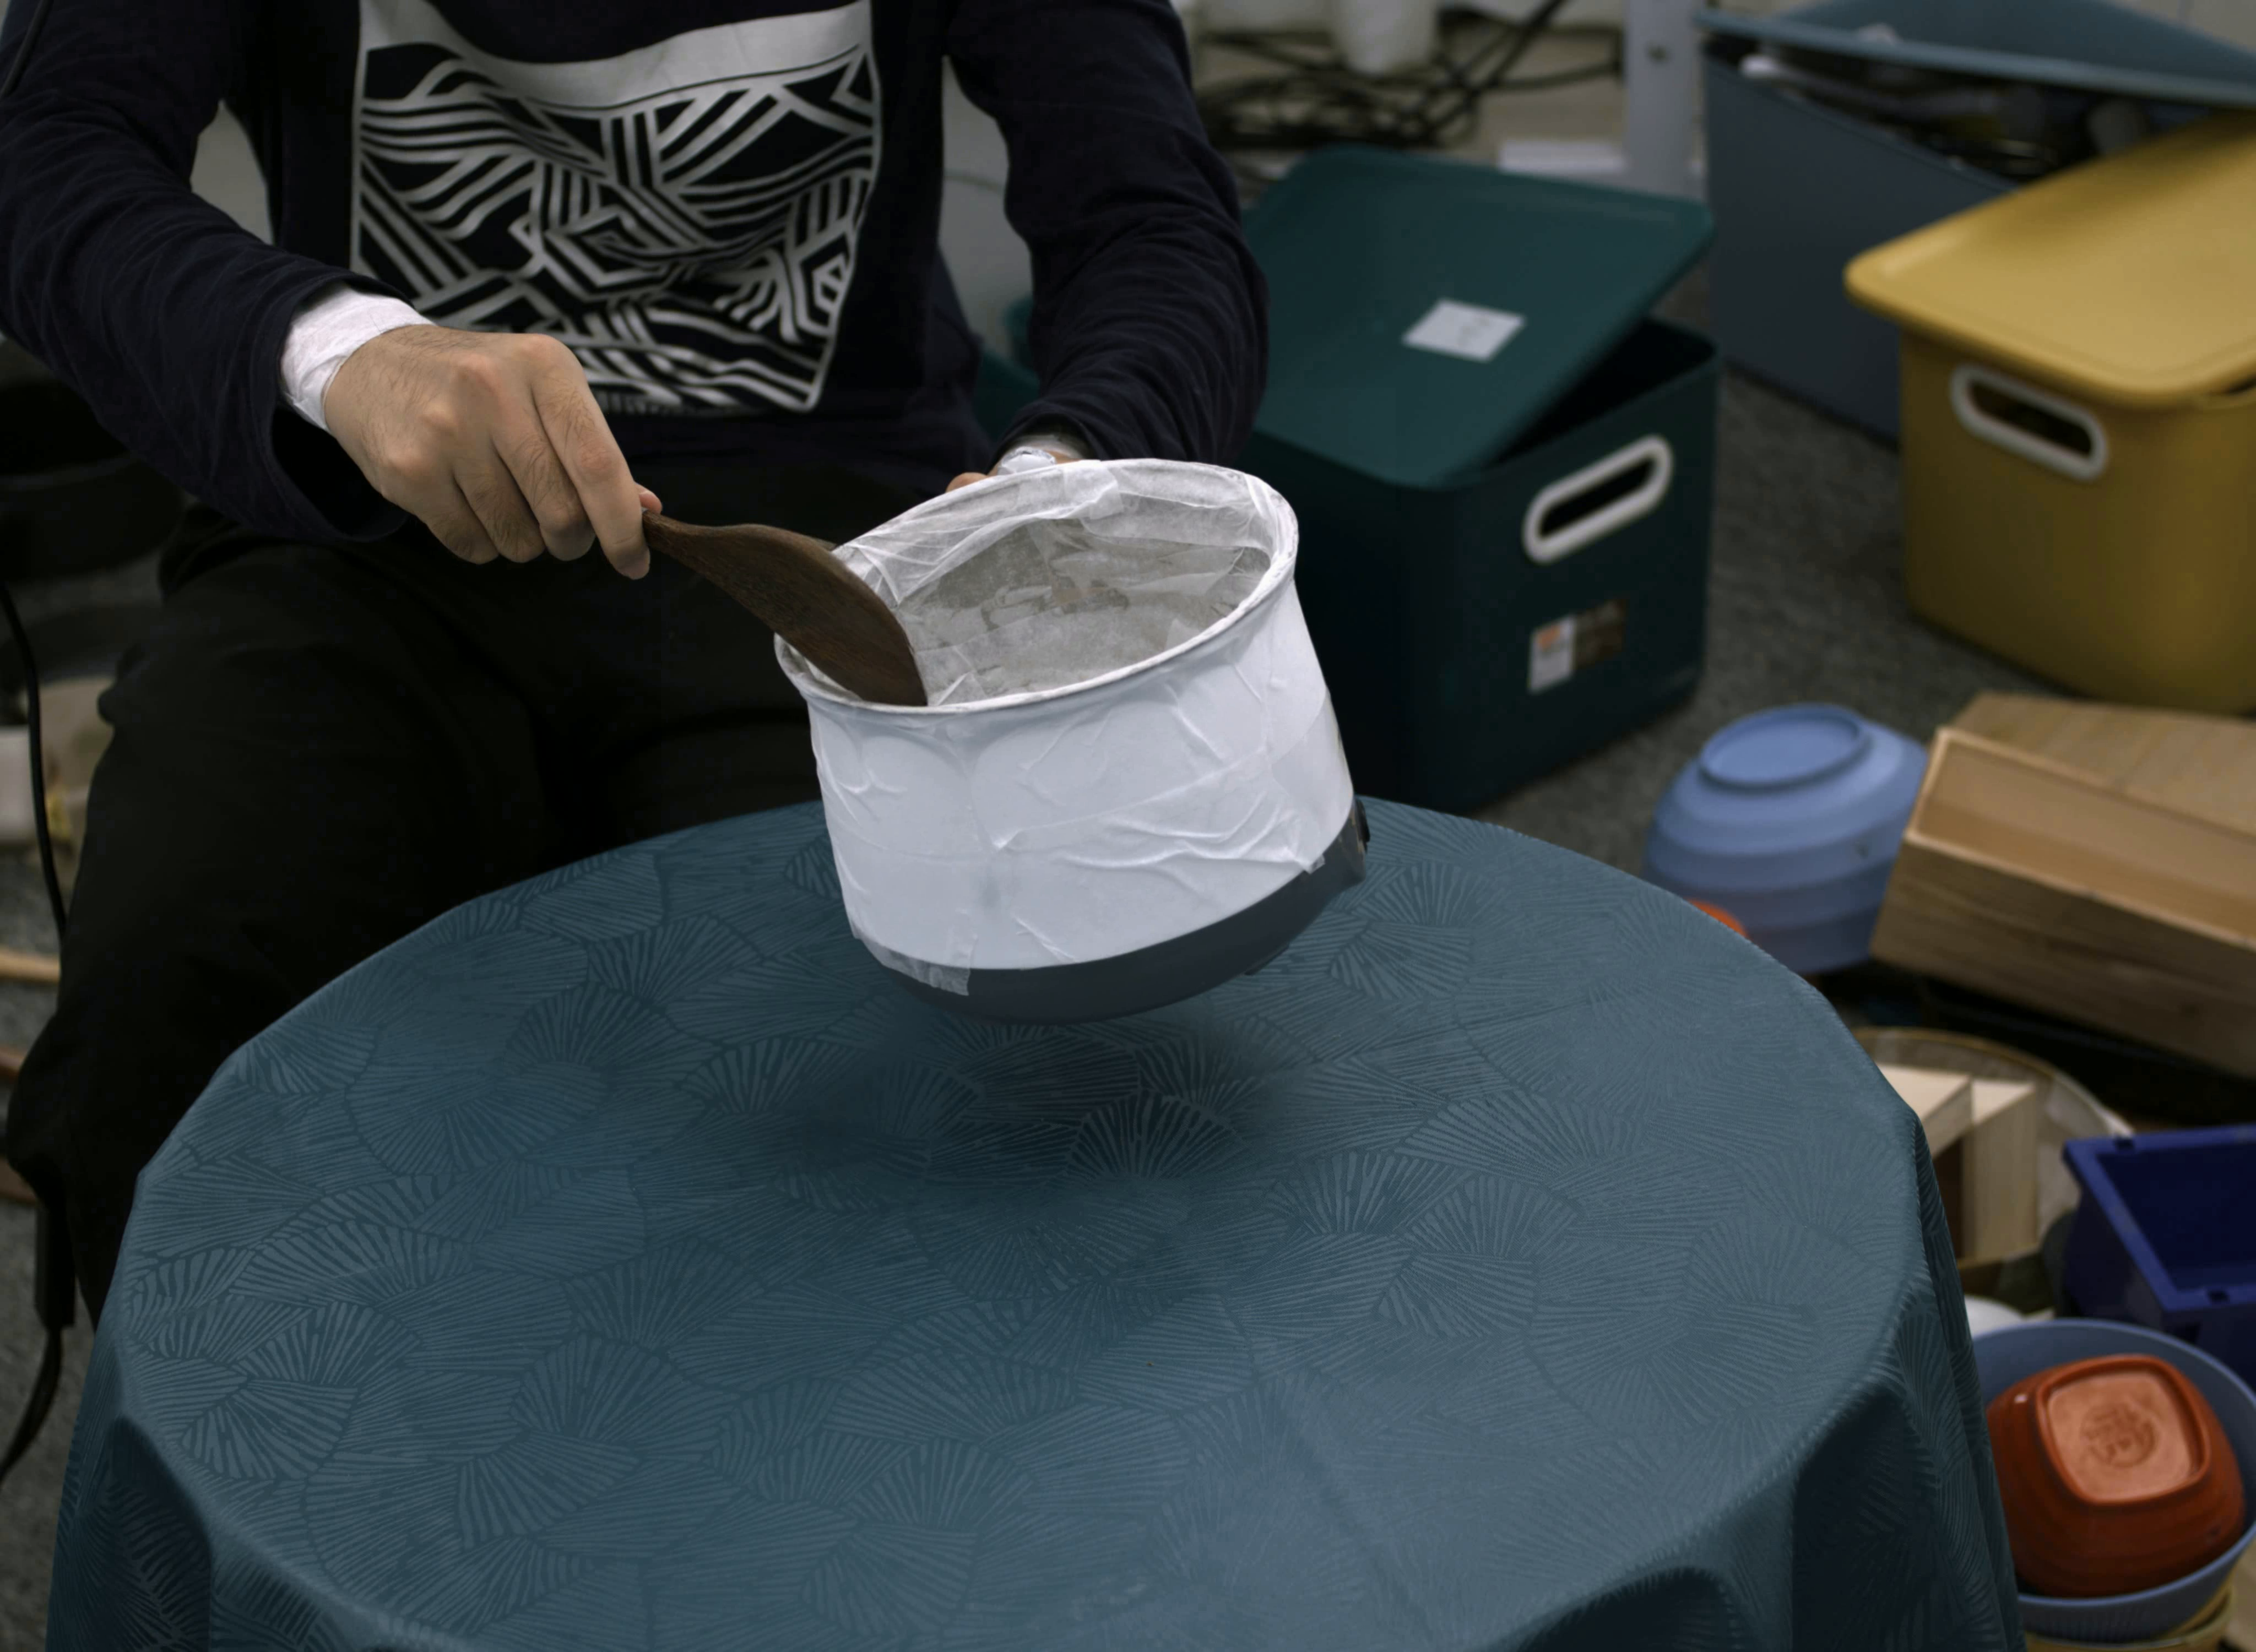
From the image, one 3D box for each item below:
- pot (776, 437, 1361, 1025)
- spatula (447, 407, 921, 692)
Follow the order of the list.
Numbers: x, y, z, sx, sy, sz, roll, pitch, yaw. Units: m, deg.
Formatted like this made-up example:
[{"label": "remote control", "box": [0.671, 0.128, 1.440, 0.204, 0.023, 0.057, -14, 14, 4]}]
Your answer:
[{"label": "pot", "box": [-0.020, -0.040, 1.896, 0.178, 0.135, 0.237, -11, 27, 0]}, {"label": "spatula", "box": [-0.147, -0.091, 1.840, 0.215, 0.071, 0.009, 27, 58, 32]}]
